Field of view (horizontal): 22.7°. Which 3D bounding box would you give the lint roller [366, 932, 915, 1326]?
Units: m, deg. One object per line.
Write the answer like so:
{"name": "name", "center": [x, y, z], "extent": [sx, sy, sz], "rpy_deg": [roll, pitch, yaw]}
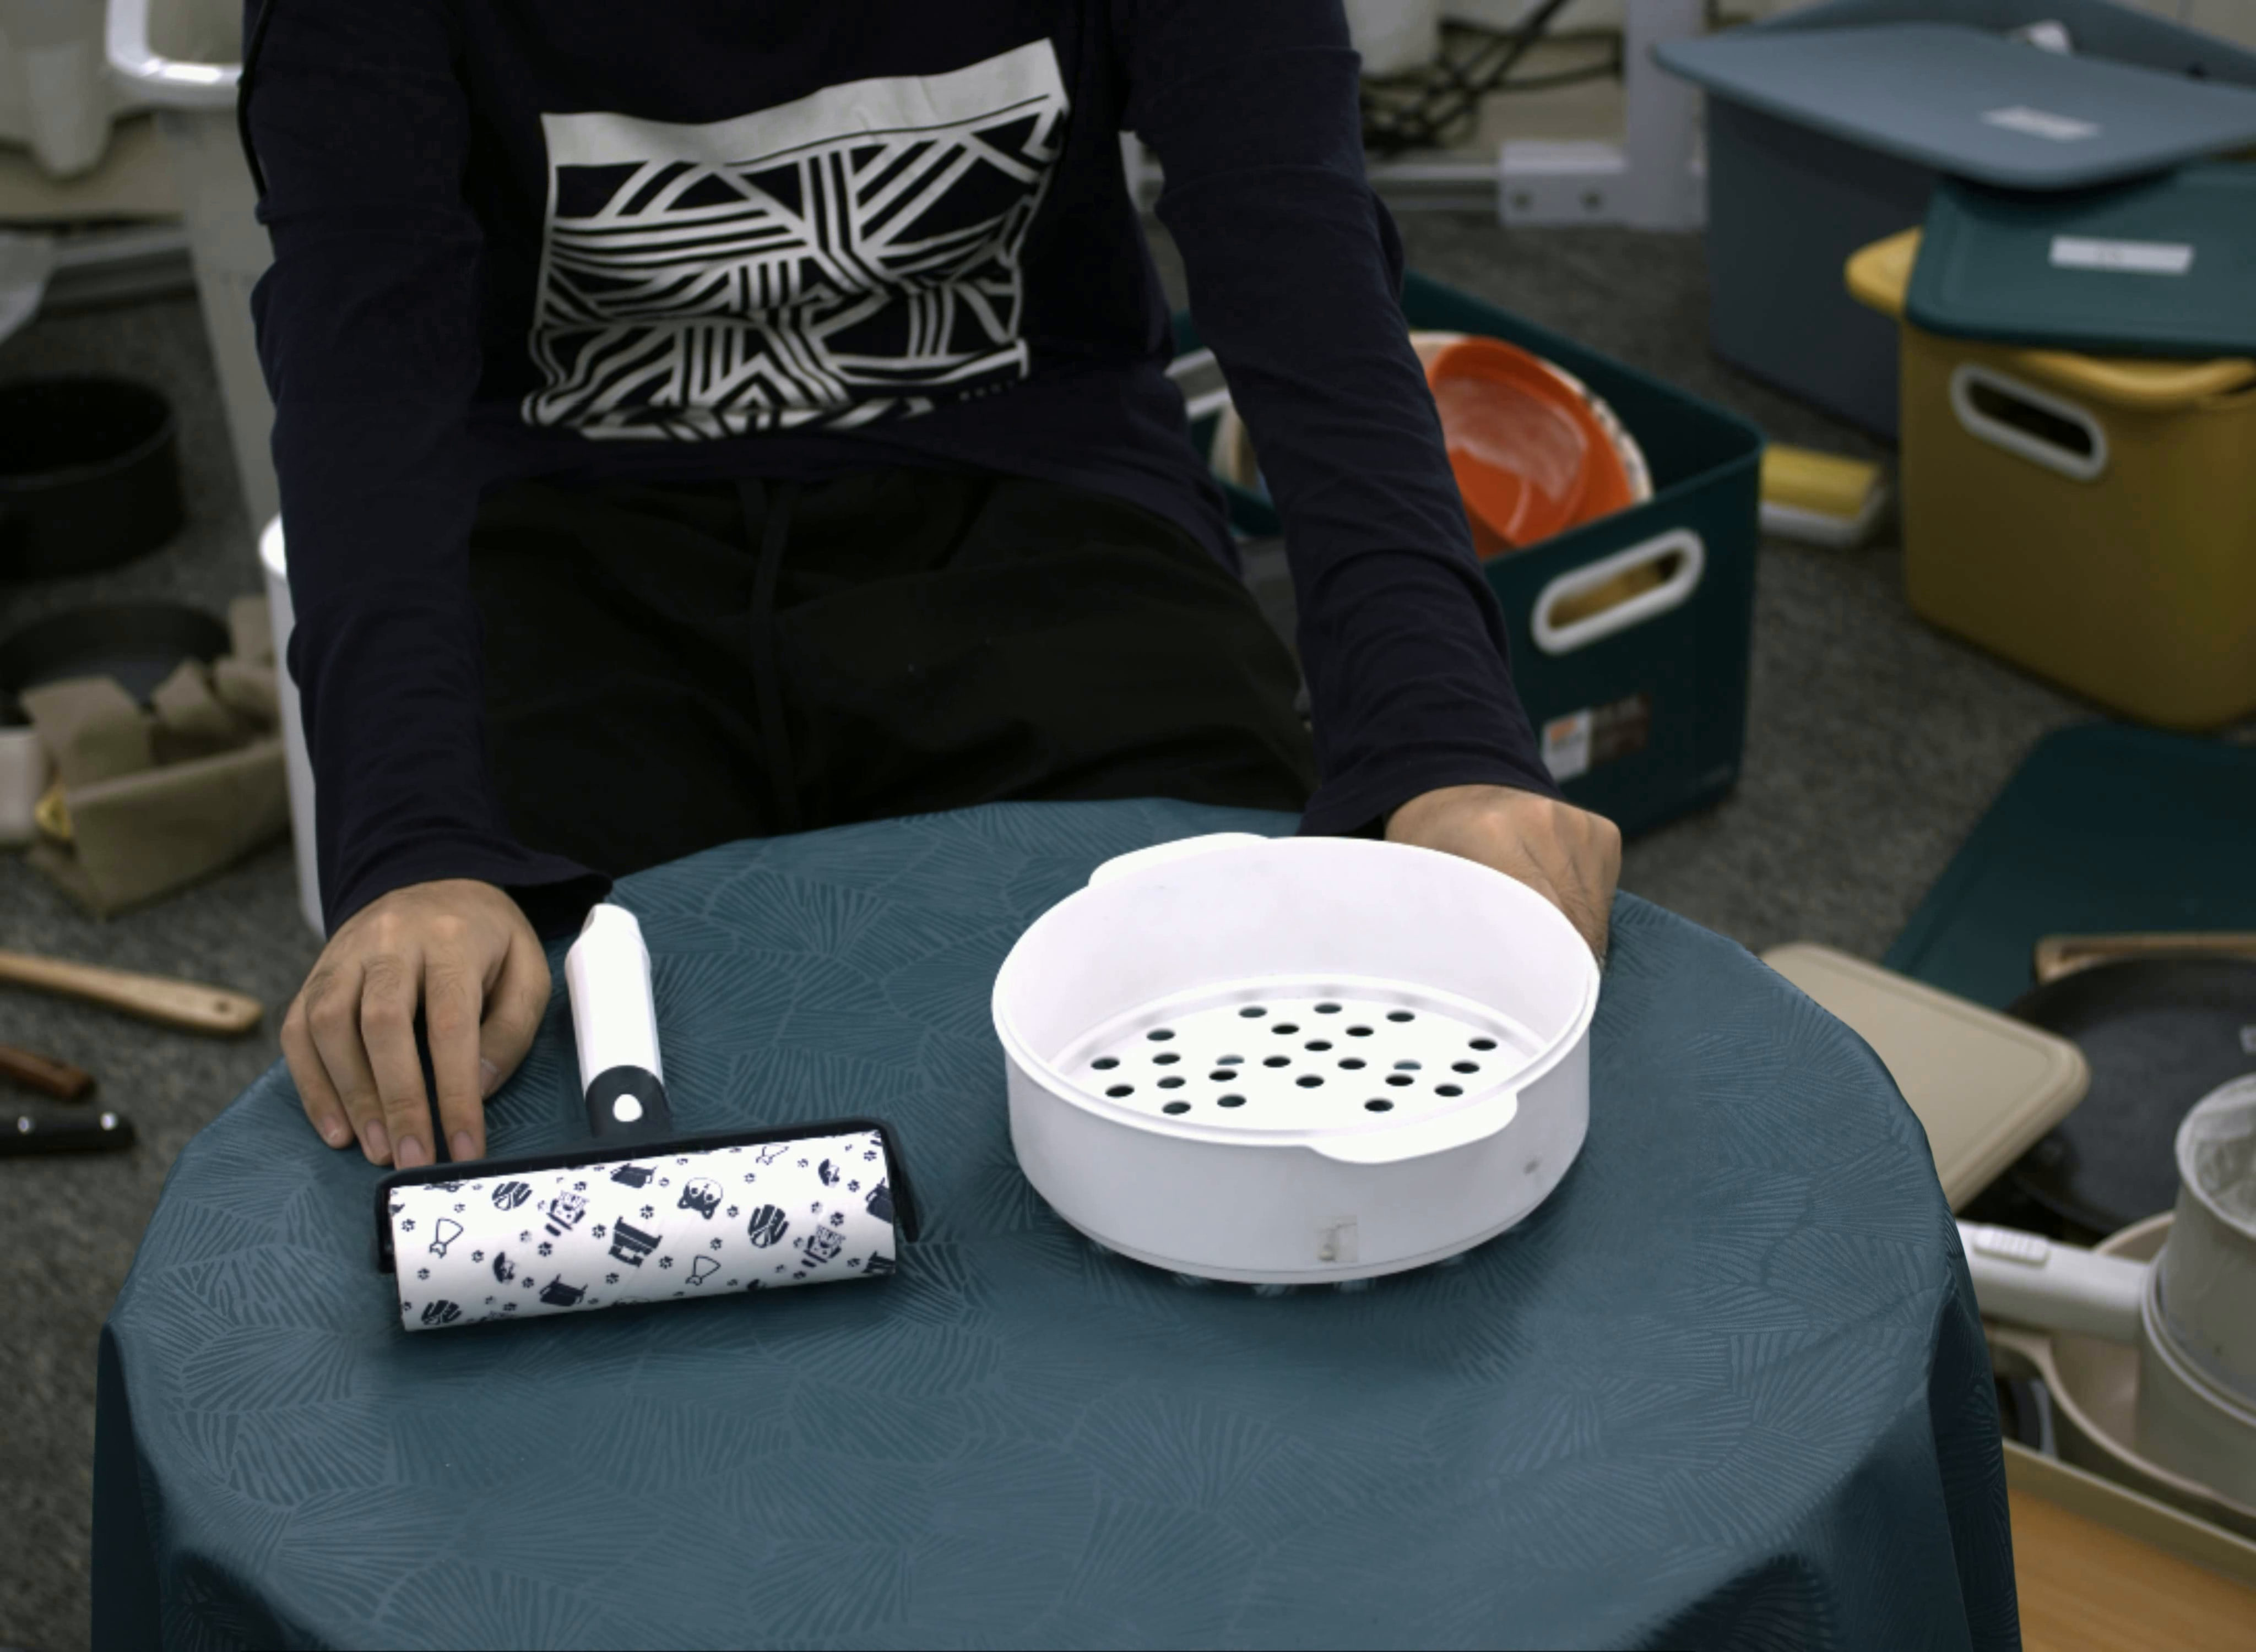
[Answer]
{"name": "lint roller", "center": [-0.174, 0.088, 1.900], "extent": [0.176, 0.050, 0.250], "rpy_deg": [-7, 25, -7]}

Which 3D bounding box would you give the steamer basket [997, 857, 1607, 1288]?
{"name": "steamer basket", "center": [0.058, 0.082, 1.863], "extent": [0.202, 0.068, 0.232], "rpy_deg": [-12, 26, -19]}
